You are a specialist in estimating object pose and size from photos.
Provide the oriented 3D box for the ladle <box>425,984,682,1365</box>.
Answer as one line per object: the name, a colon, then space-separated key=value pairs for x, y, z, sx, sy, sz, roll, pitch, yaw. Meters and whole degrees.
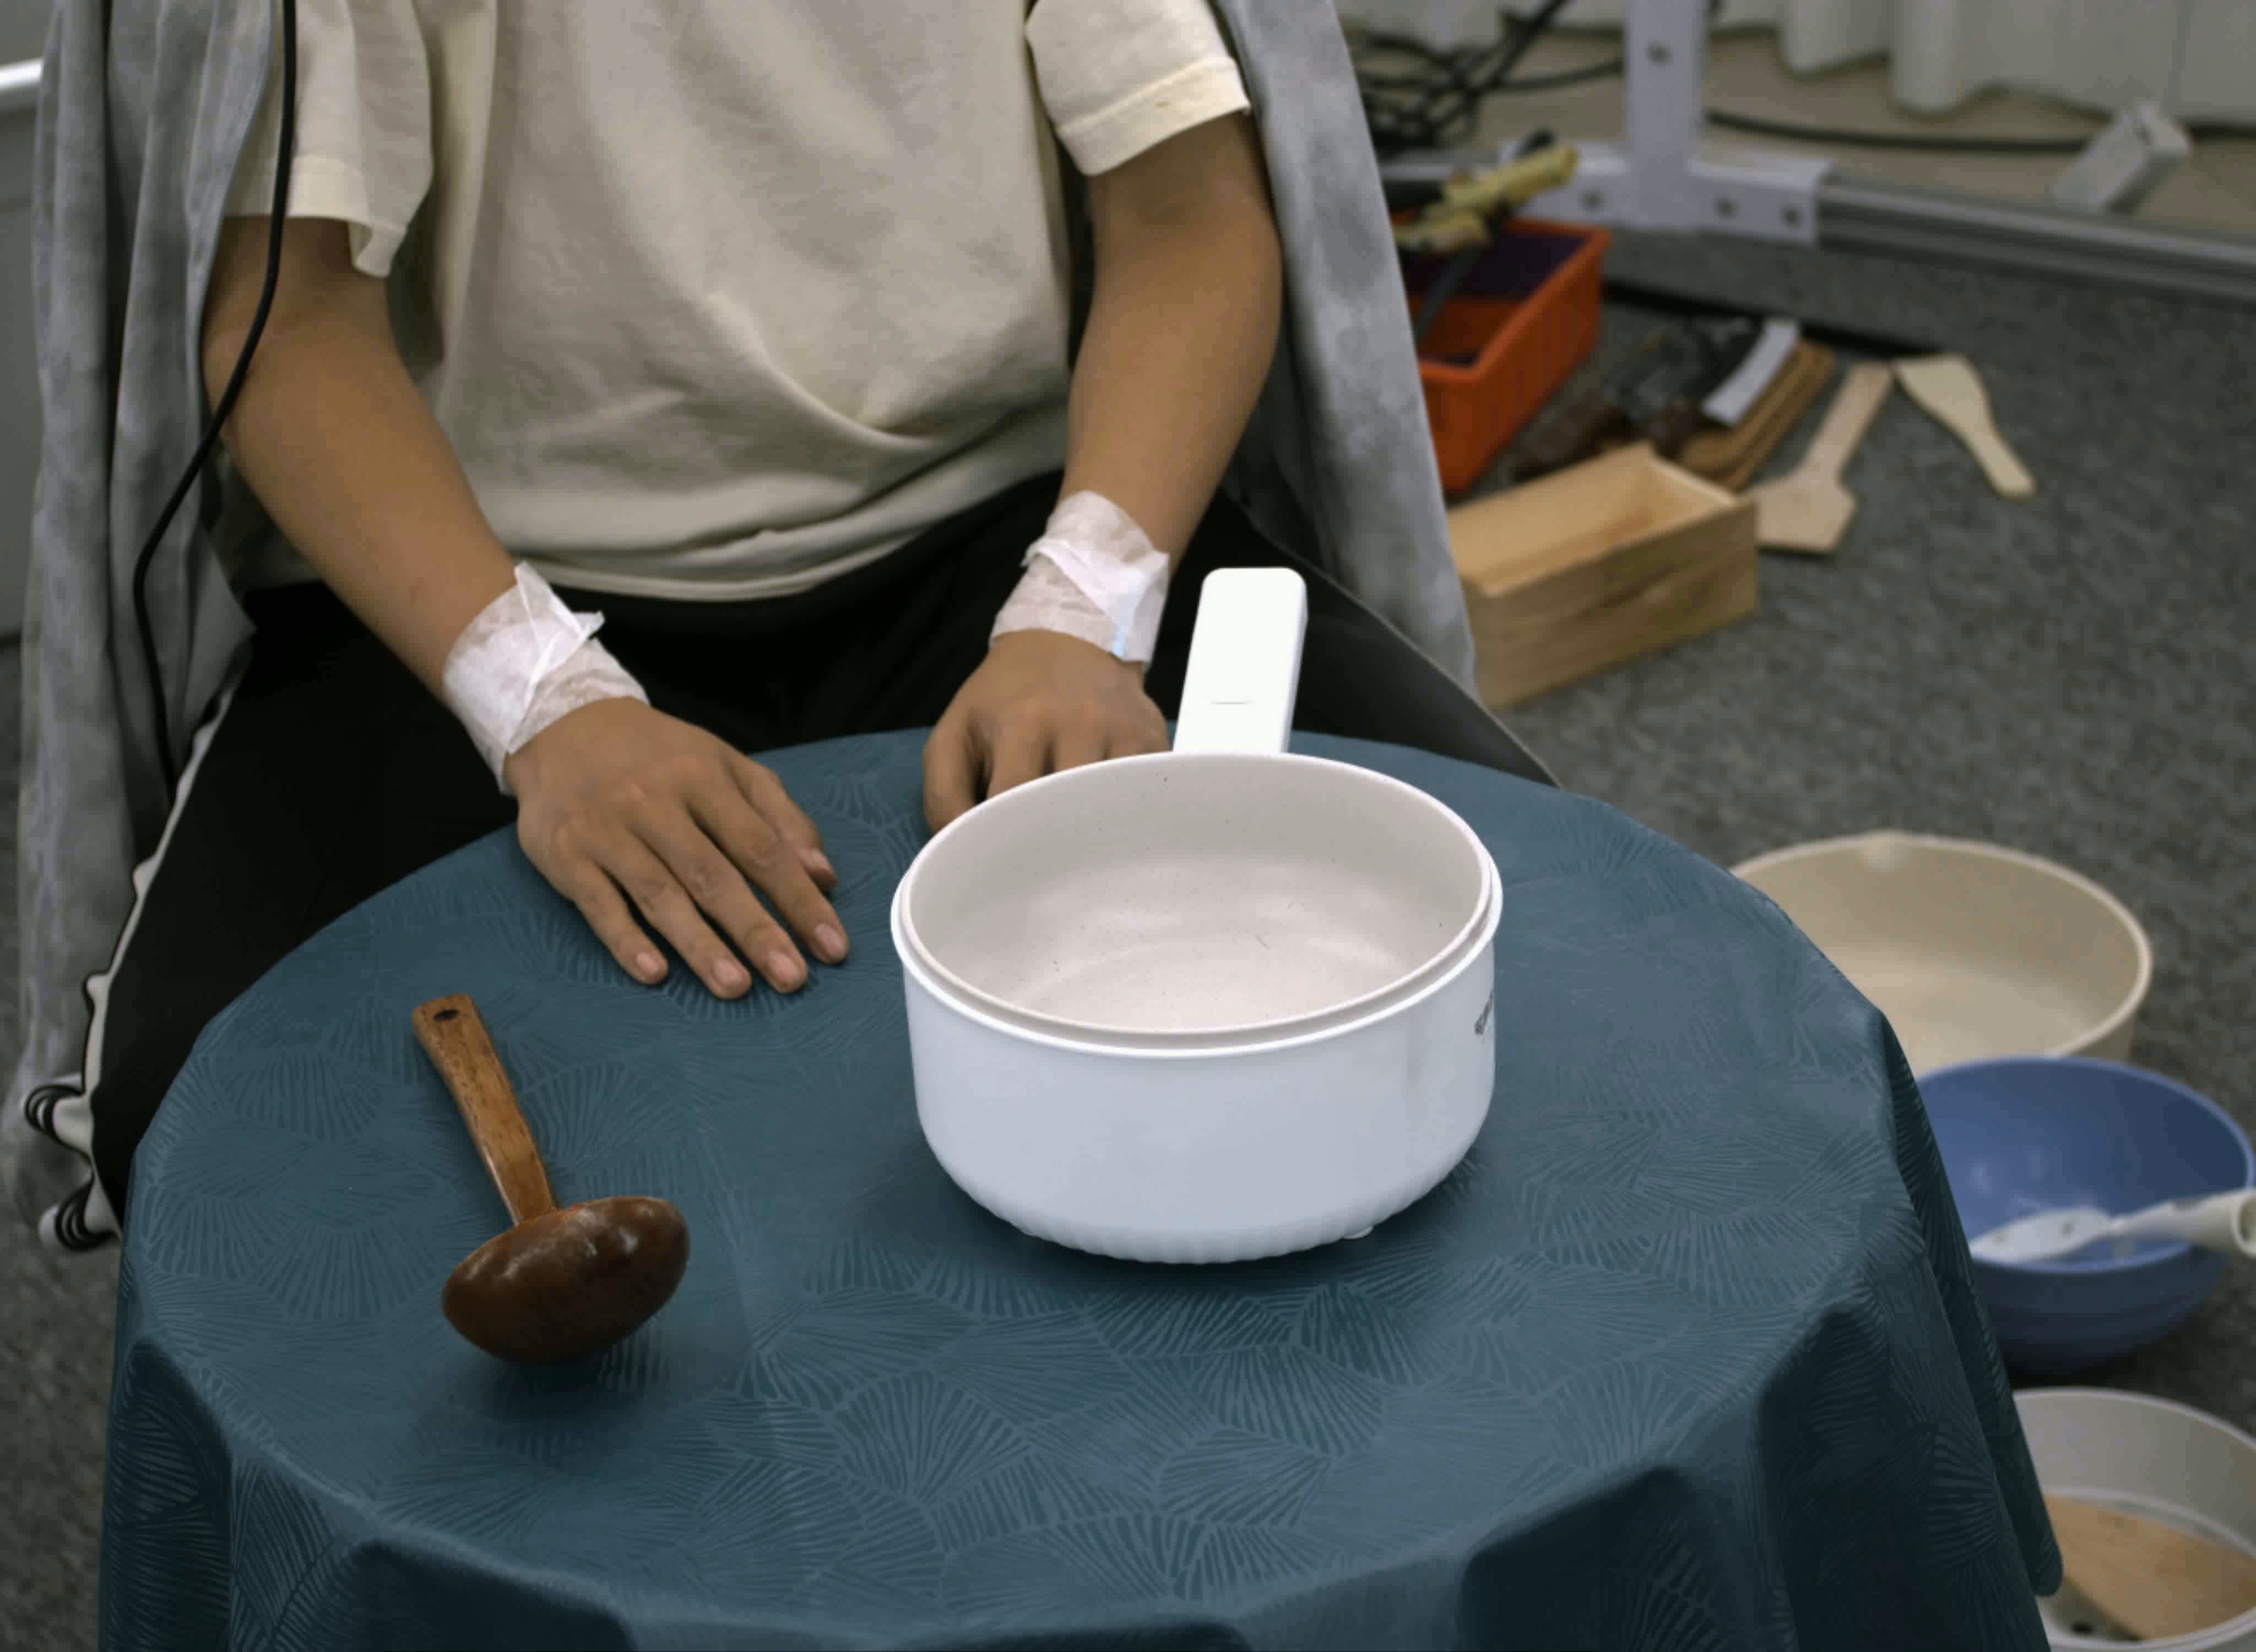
ladle: x=-0.206 y=0.095 z=1.847 sx=0.082 sy=0.076 sz=0.277 roll=-11 pitch=29 yaw=-11

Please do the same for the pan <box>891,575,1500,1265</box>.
pan: x=0.033 y=0.029 z=1.932 sx=0.200 sy=0.101 sz=0.360 roll=-1 pitch=26 yaw=7
